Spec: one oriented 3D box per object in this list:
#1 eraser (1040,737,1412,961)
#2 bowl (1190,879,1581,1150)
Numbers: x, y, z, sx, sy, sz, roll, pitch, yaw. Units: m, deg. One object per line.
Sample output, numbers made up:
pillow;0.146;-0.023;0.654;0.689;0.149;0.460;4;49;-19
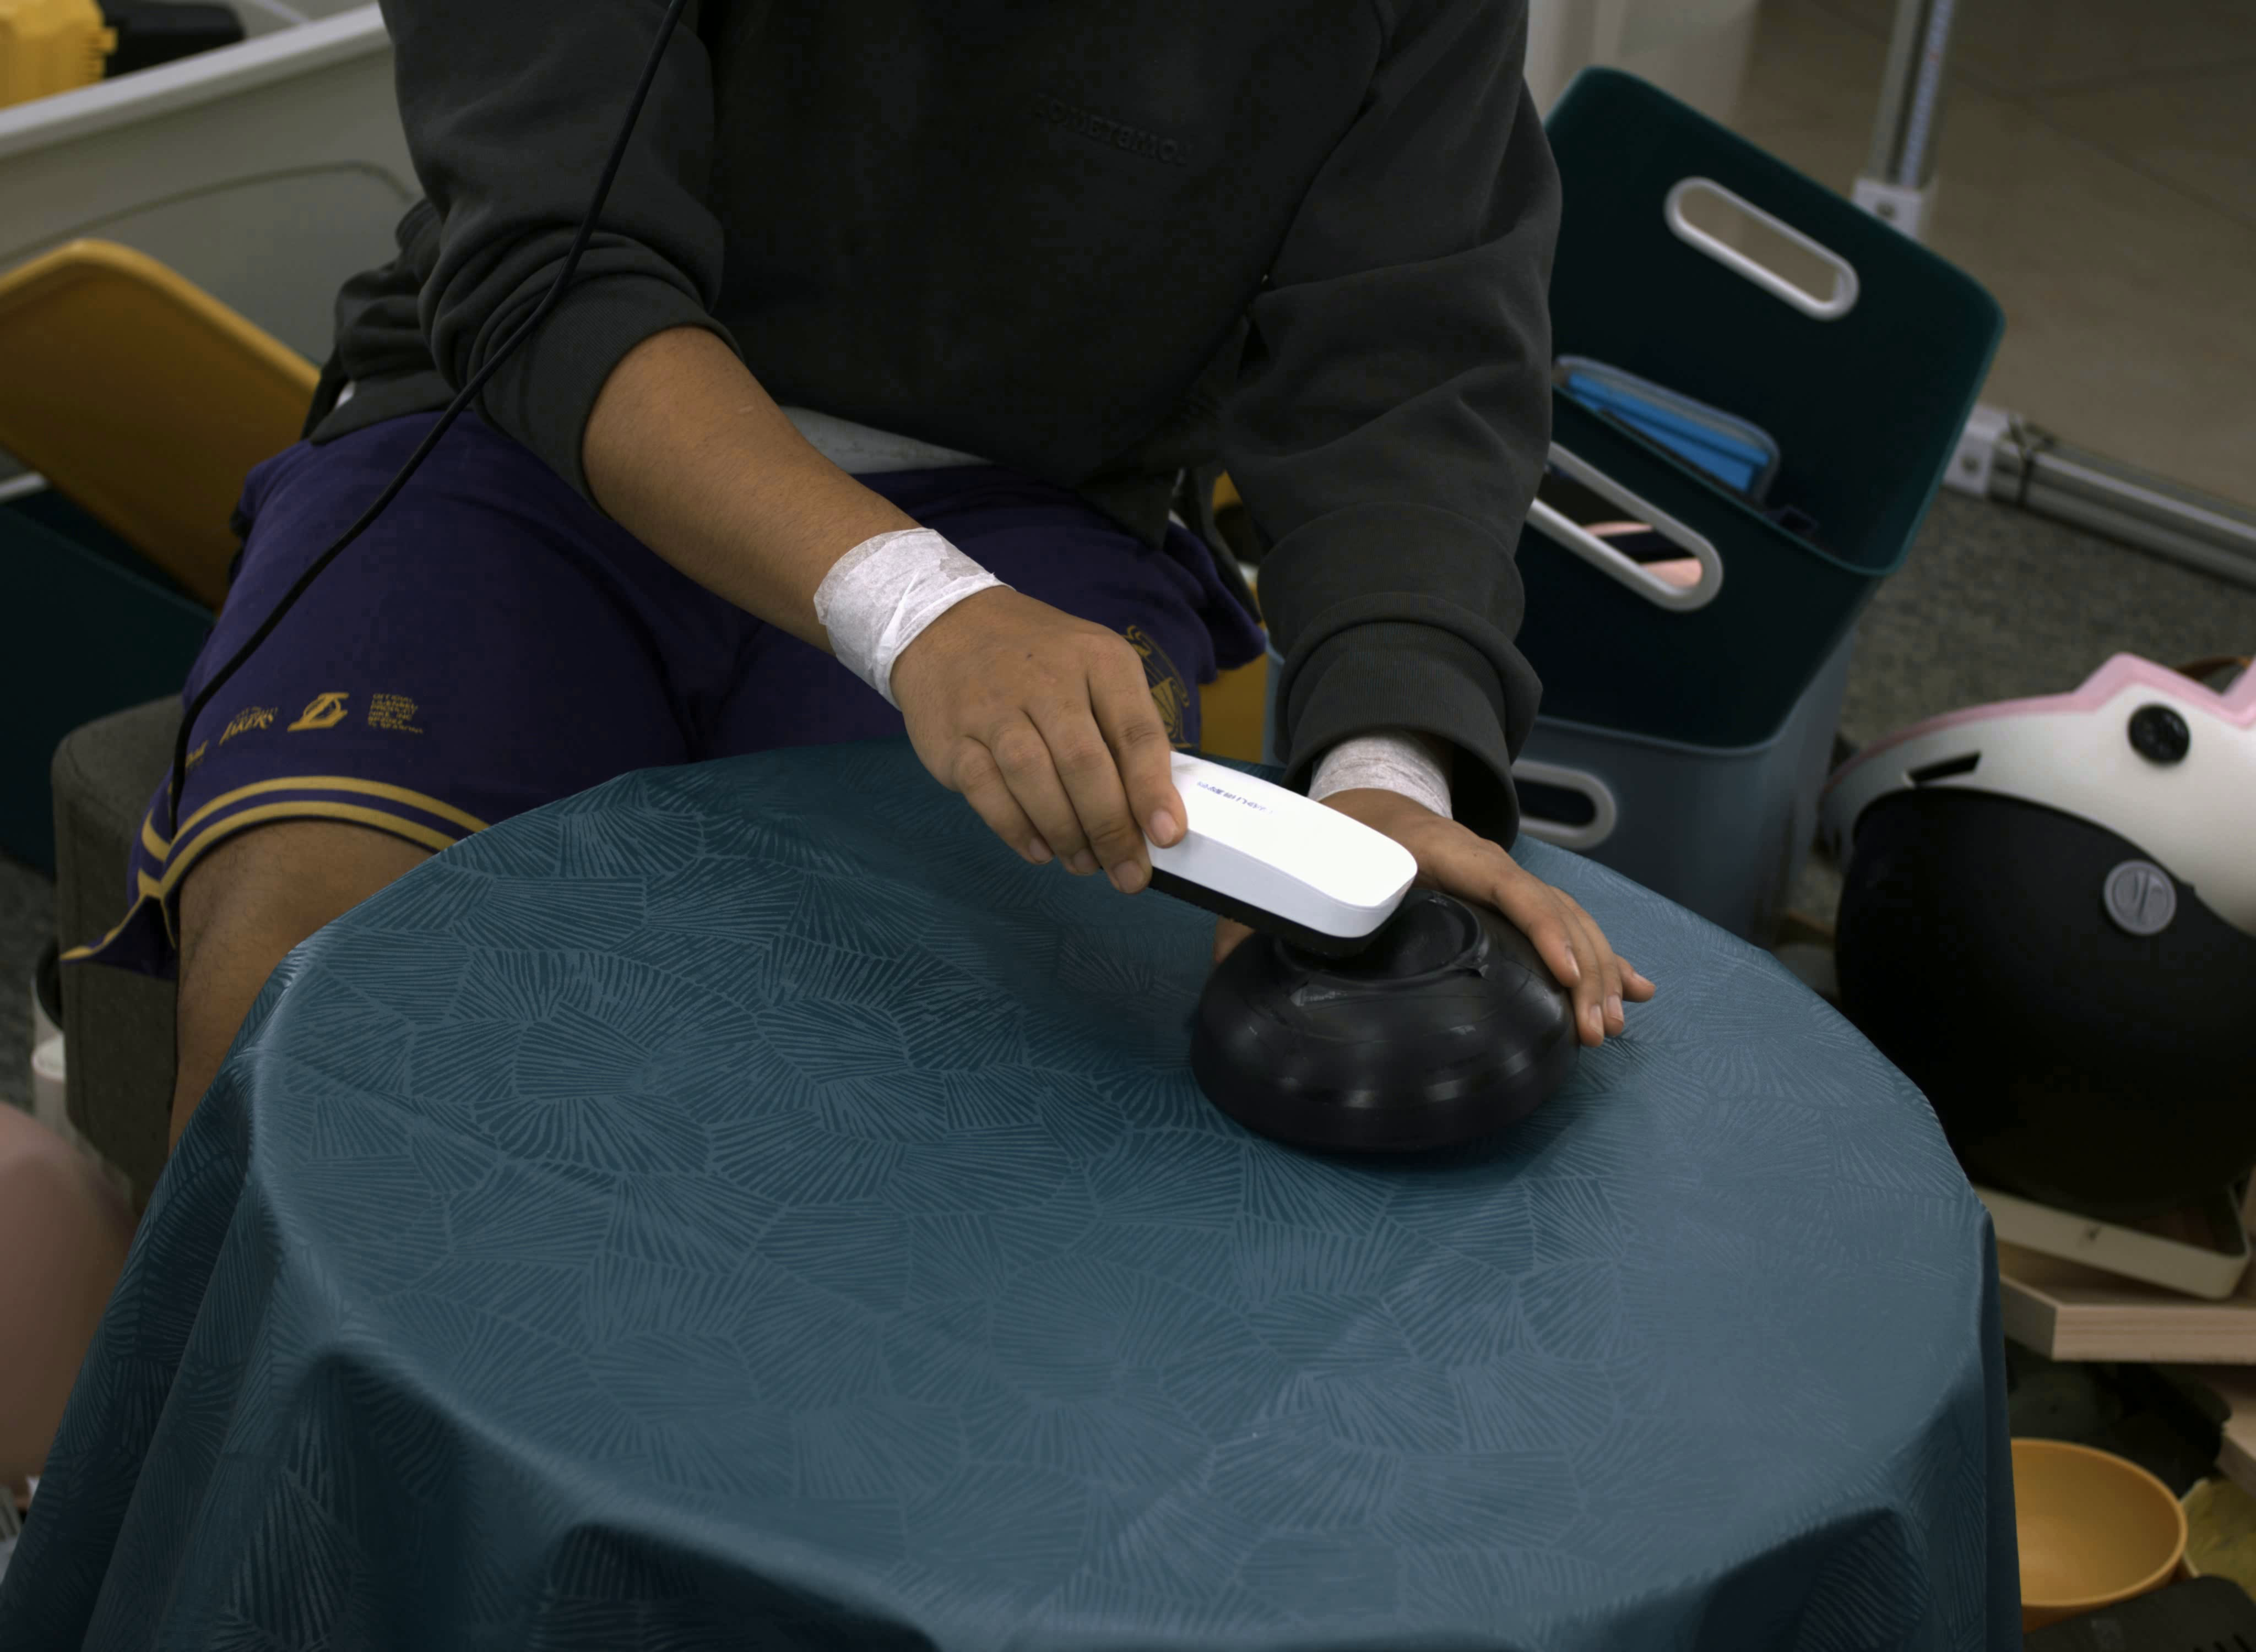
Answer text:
eraser;0.034;0.004;1.873;0.132;0.034;0.063;24;25;20
bowl;0.089;0.057;1.873;0.139;0.049;0.141;-4;30;2
